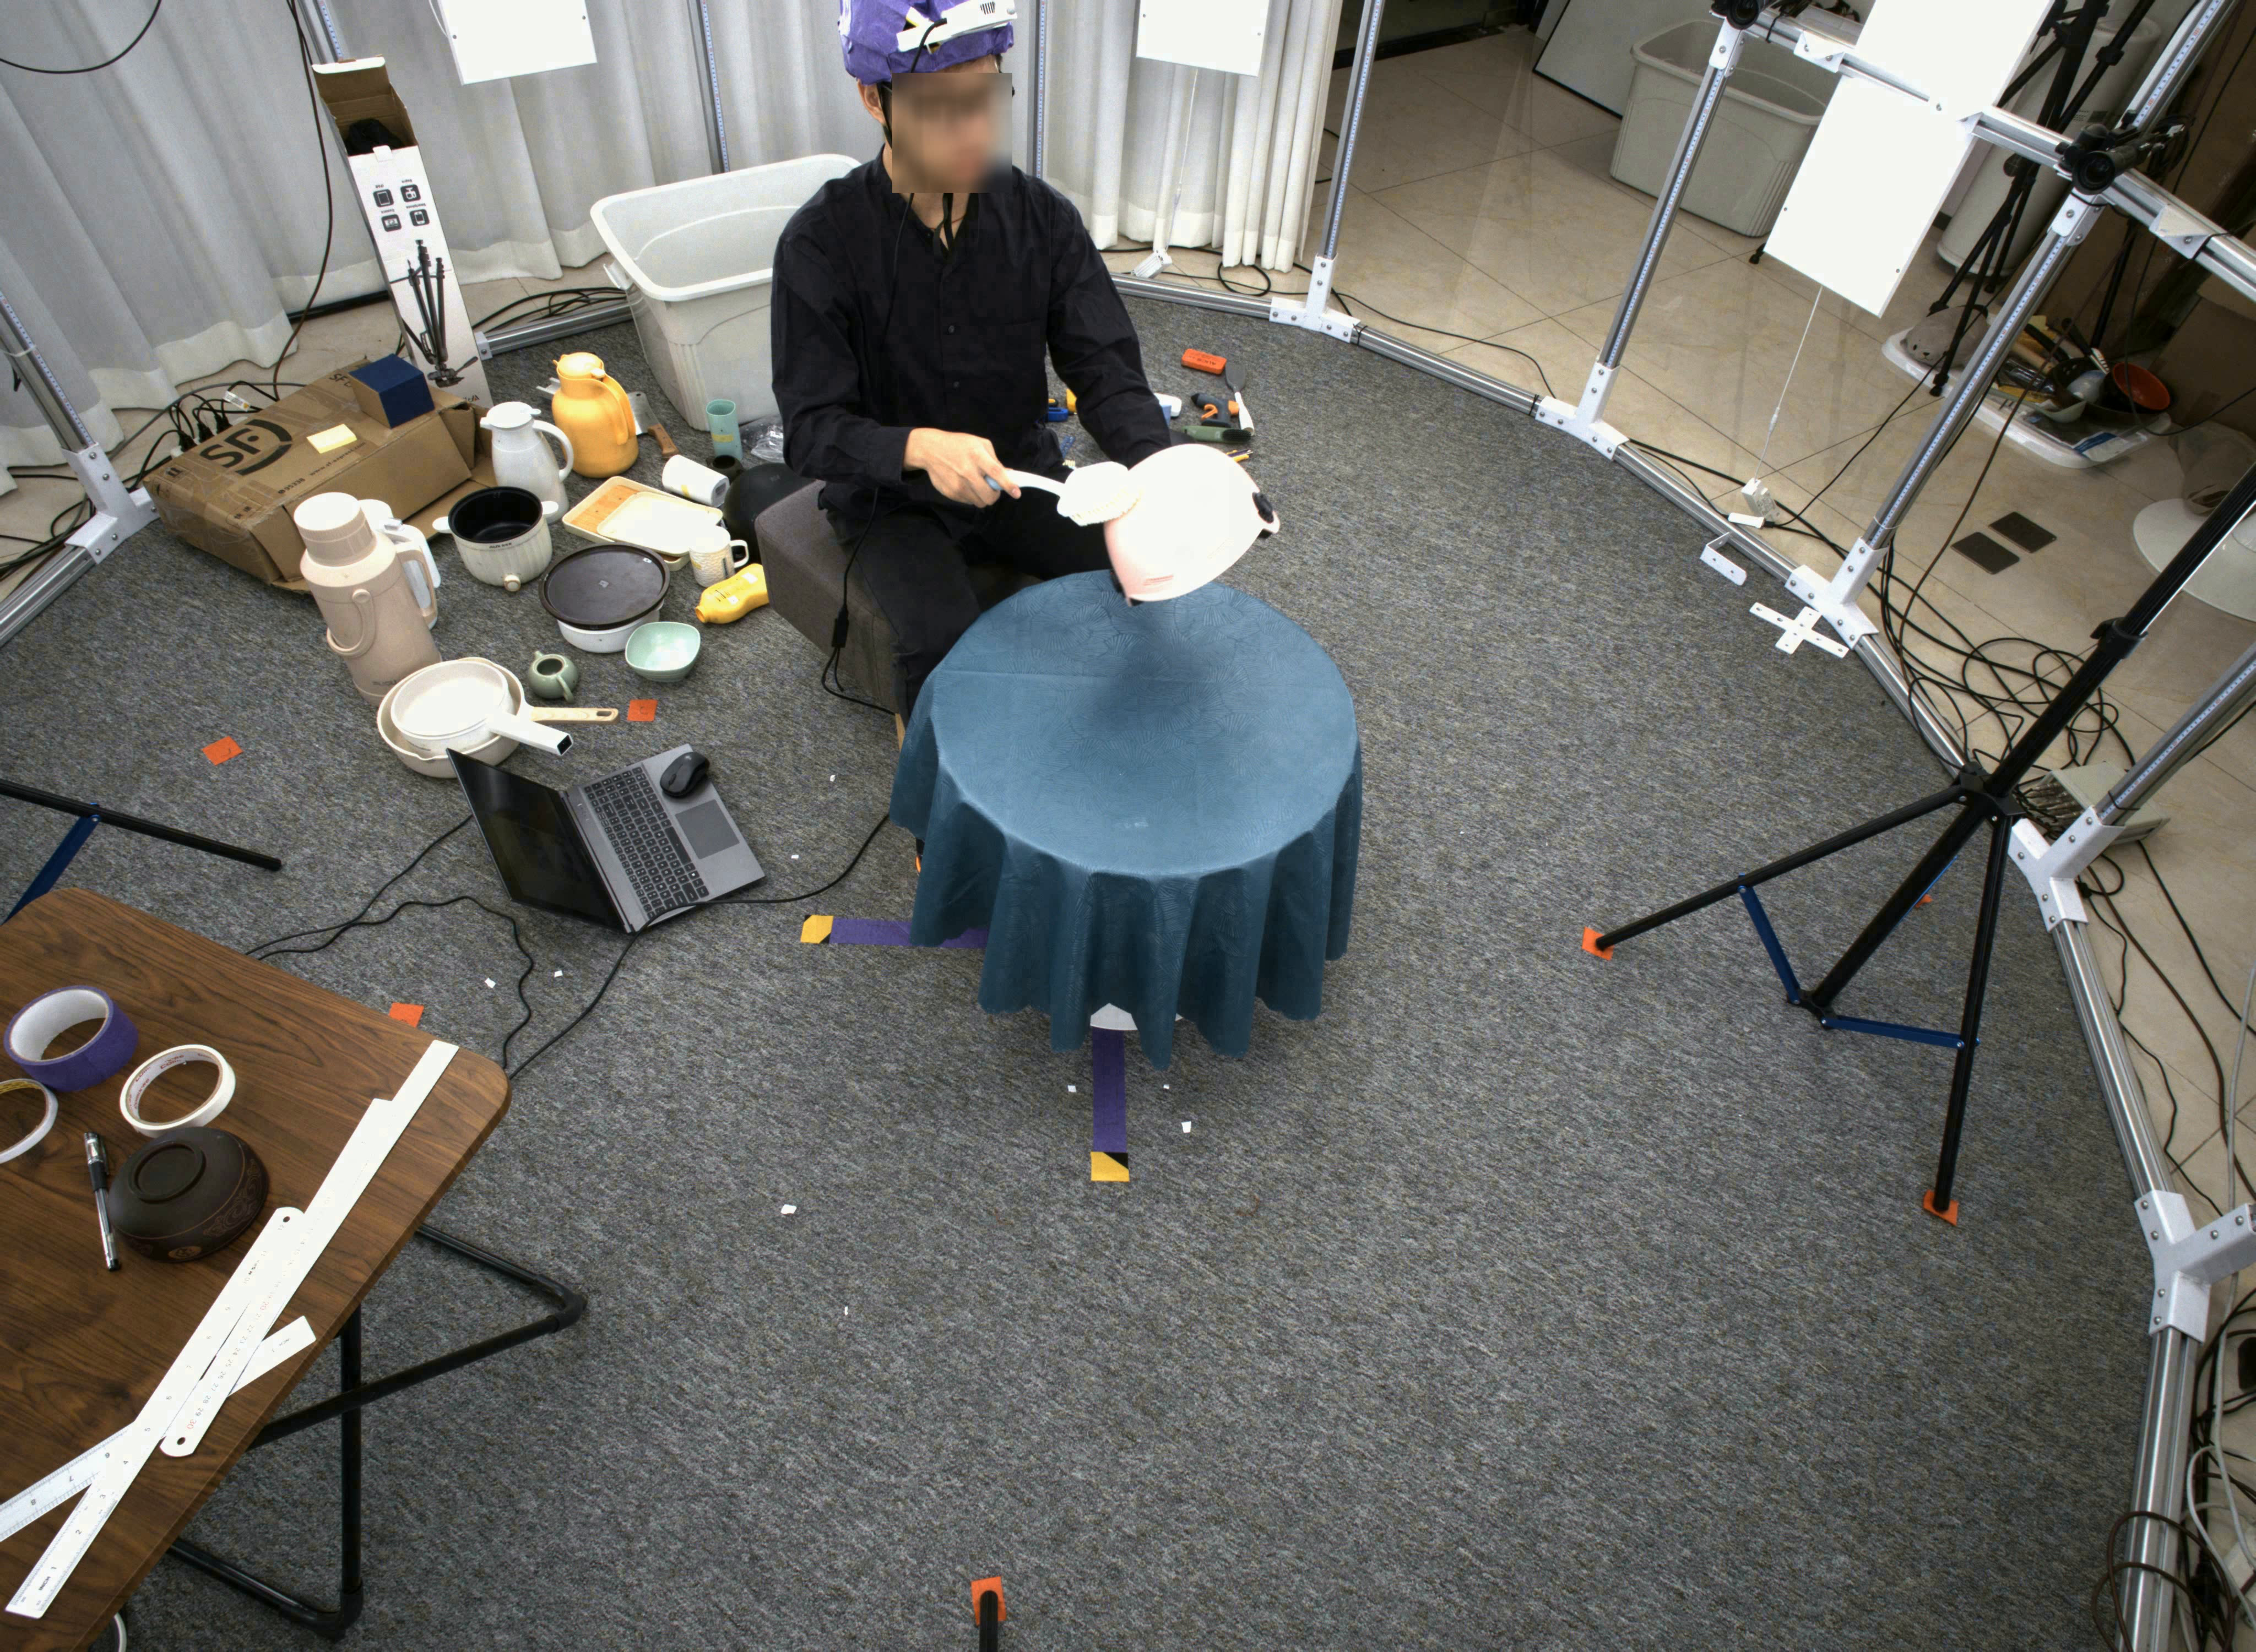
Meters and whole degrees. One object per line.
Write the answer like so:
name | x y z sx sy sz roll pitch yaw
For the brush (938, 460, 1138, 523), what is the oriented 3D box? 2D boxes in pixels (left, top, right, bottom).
brush | -0.114 -0.447 1.717 0.328 0.083 0.084 9 40 37

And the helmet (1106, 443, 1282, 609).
helmet | 0.067 -0.407 1.688 0.233 0.156 0.271 -25 24 15
